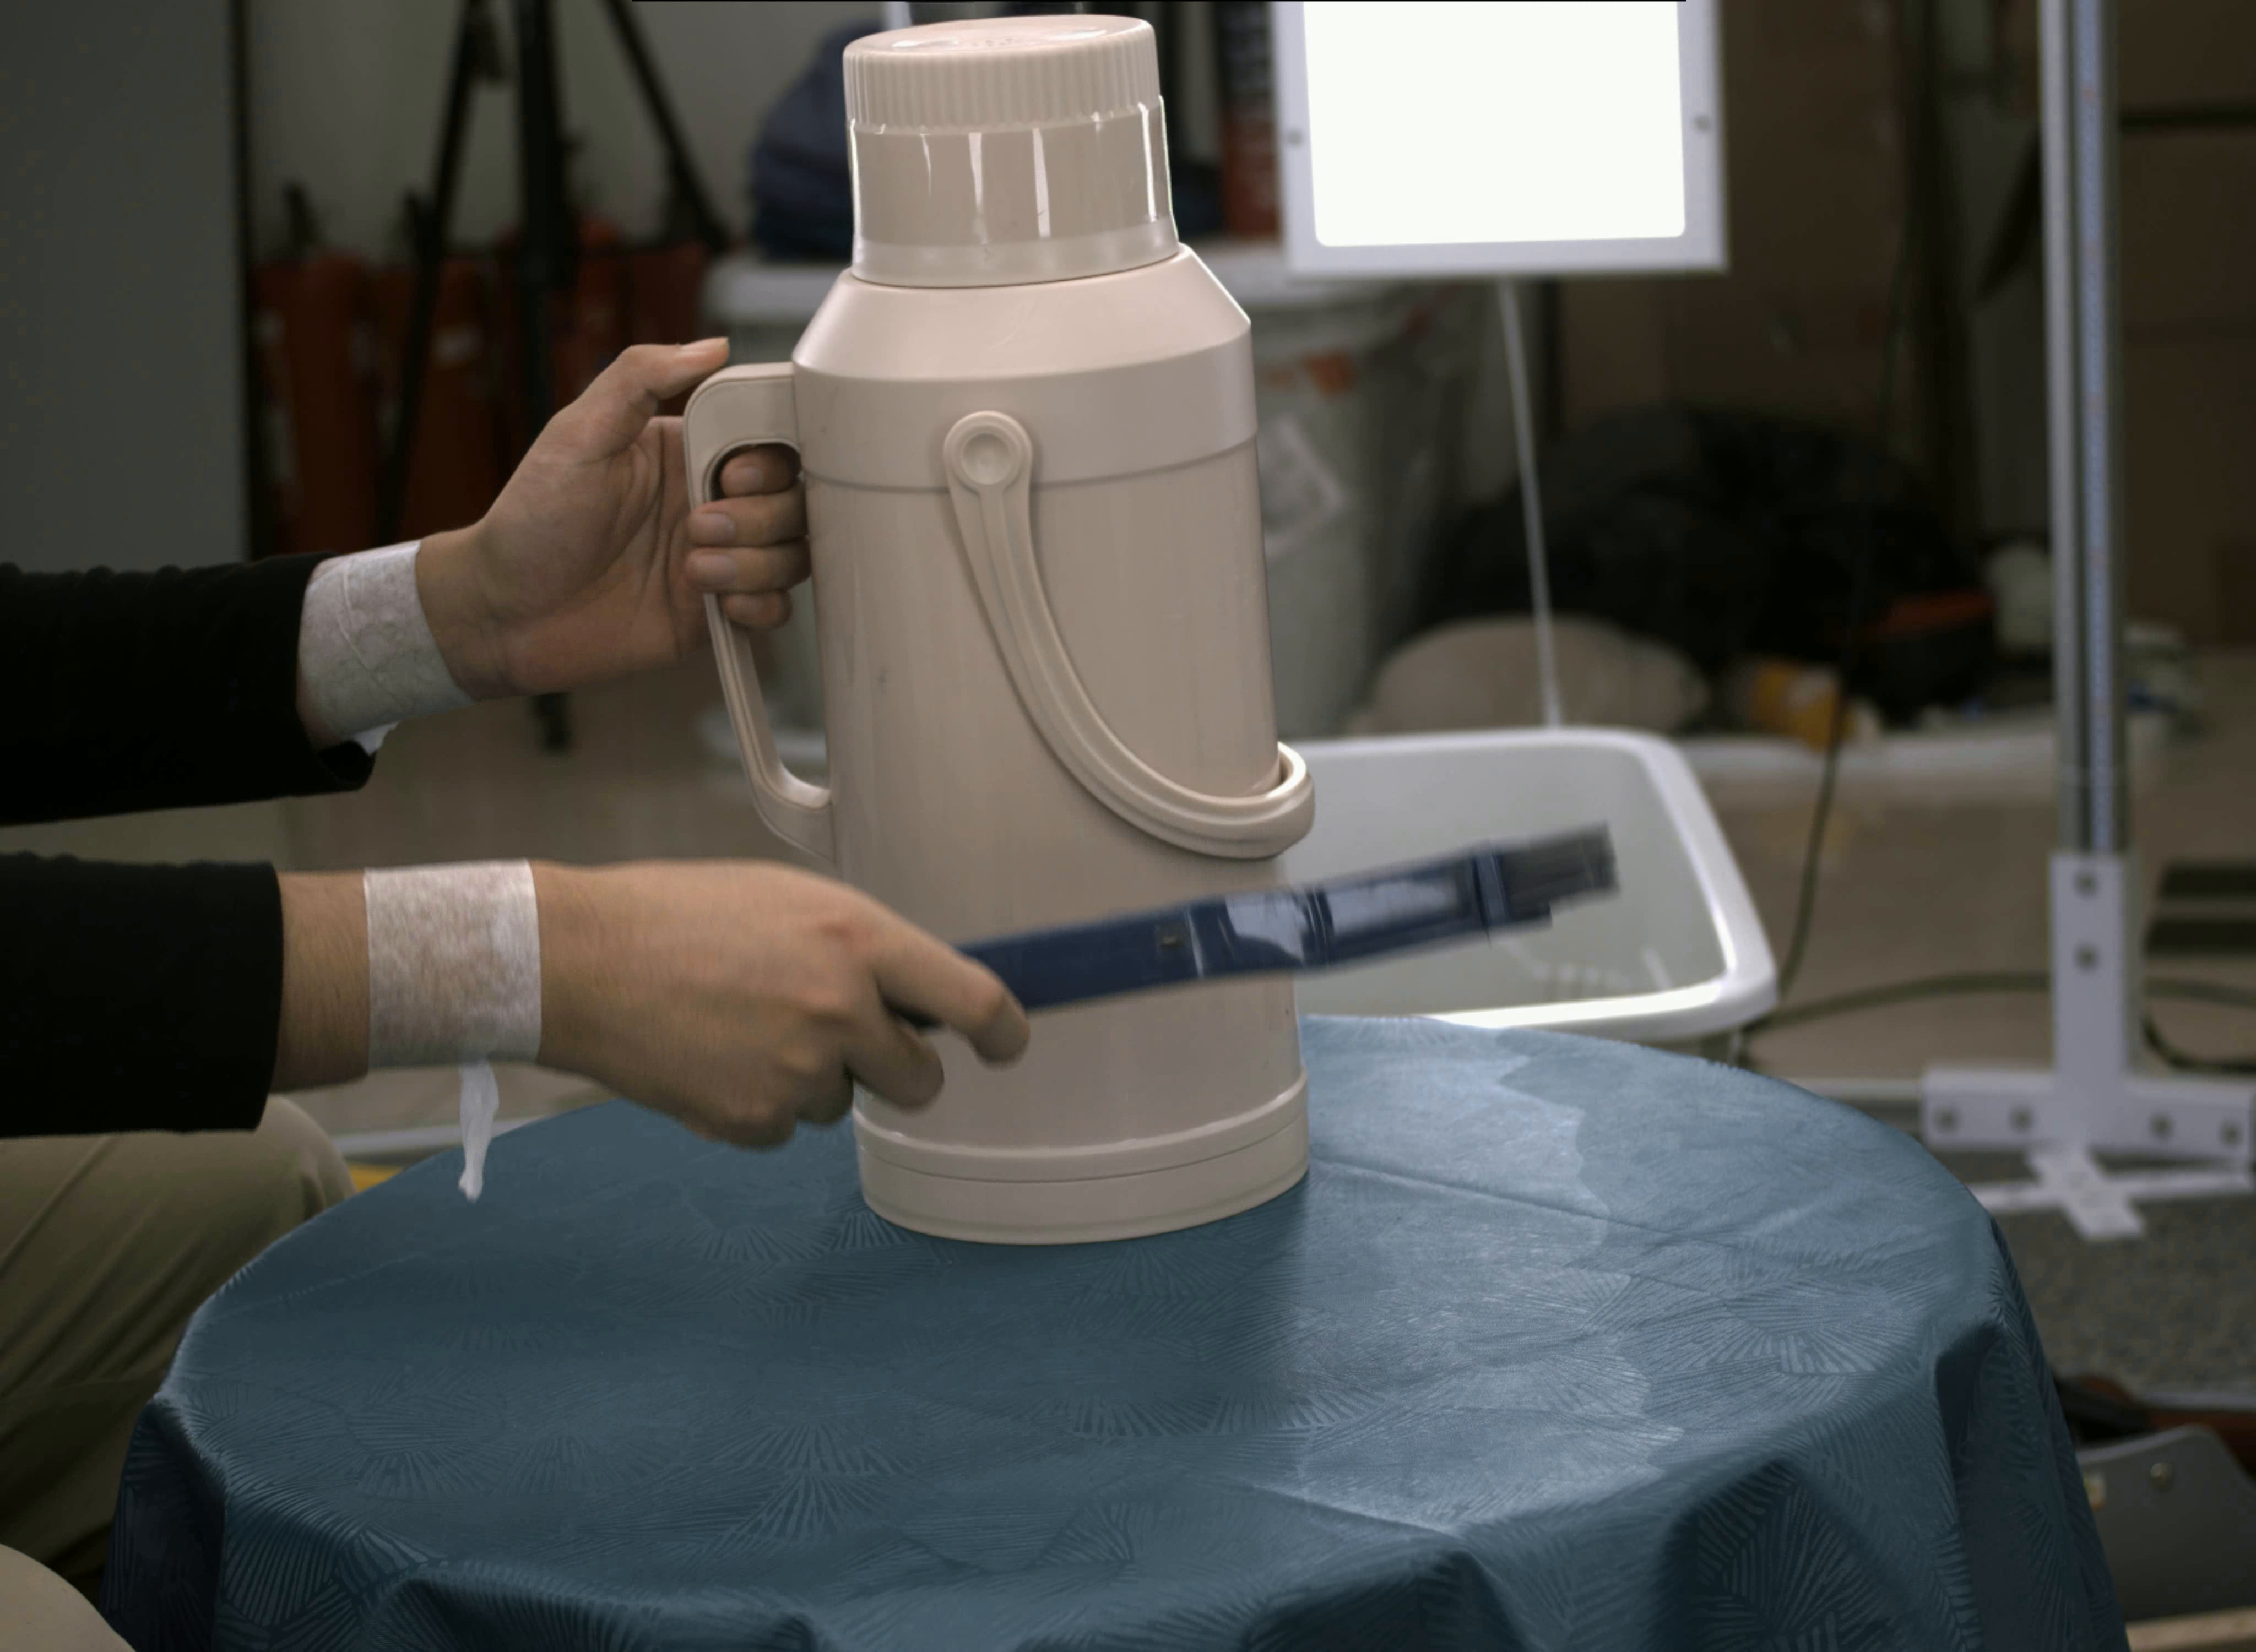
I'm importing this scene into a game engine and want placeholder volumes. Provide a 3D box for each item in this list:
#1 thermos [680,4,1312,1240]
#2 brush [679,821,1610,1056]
[{"bbox_3d":[-0.044,-0.071,1.882,0.208,0.408,0.174,-2,16,9],"label":"thermos"},{"bbox_3d":[0.003,0.030,1.660,0.270,0.033,0.096,-8,-9,-10],"label":"brush"}]
